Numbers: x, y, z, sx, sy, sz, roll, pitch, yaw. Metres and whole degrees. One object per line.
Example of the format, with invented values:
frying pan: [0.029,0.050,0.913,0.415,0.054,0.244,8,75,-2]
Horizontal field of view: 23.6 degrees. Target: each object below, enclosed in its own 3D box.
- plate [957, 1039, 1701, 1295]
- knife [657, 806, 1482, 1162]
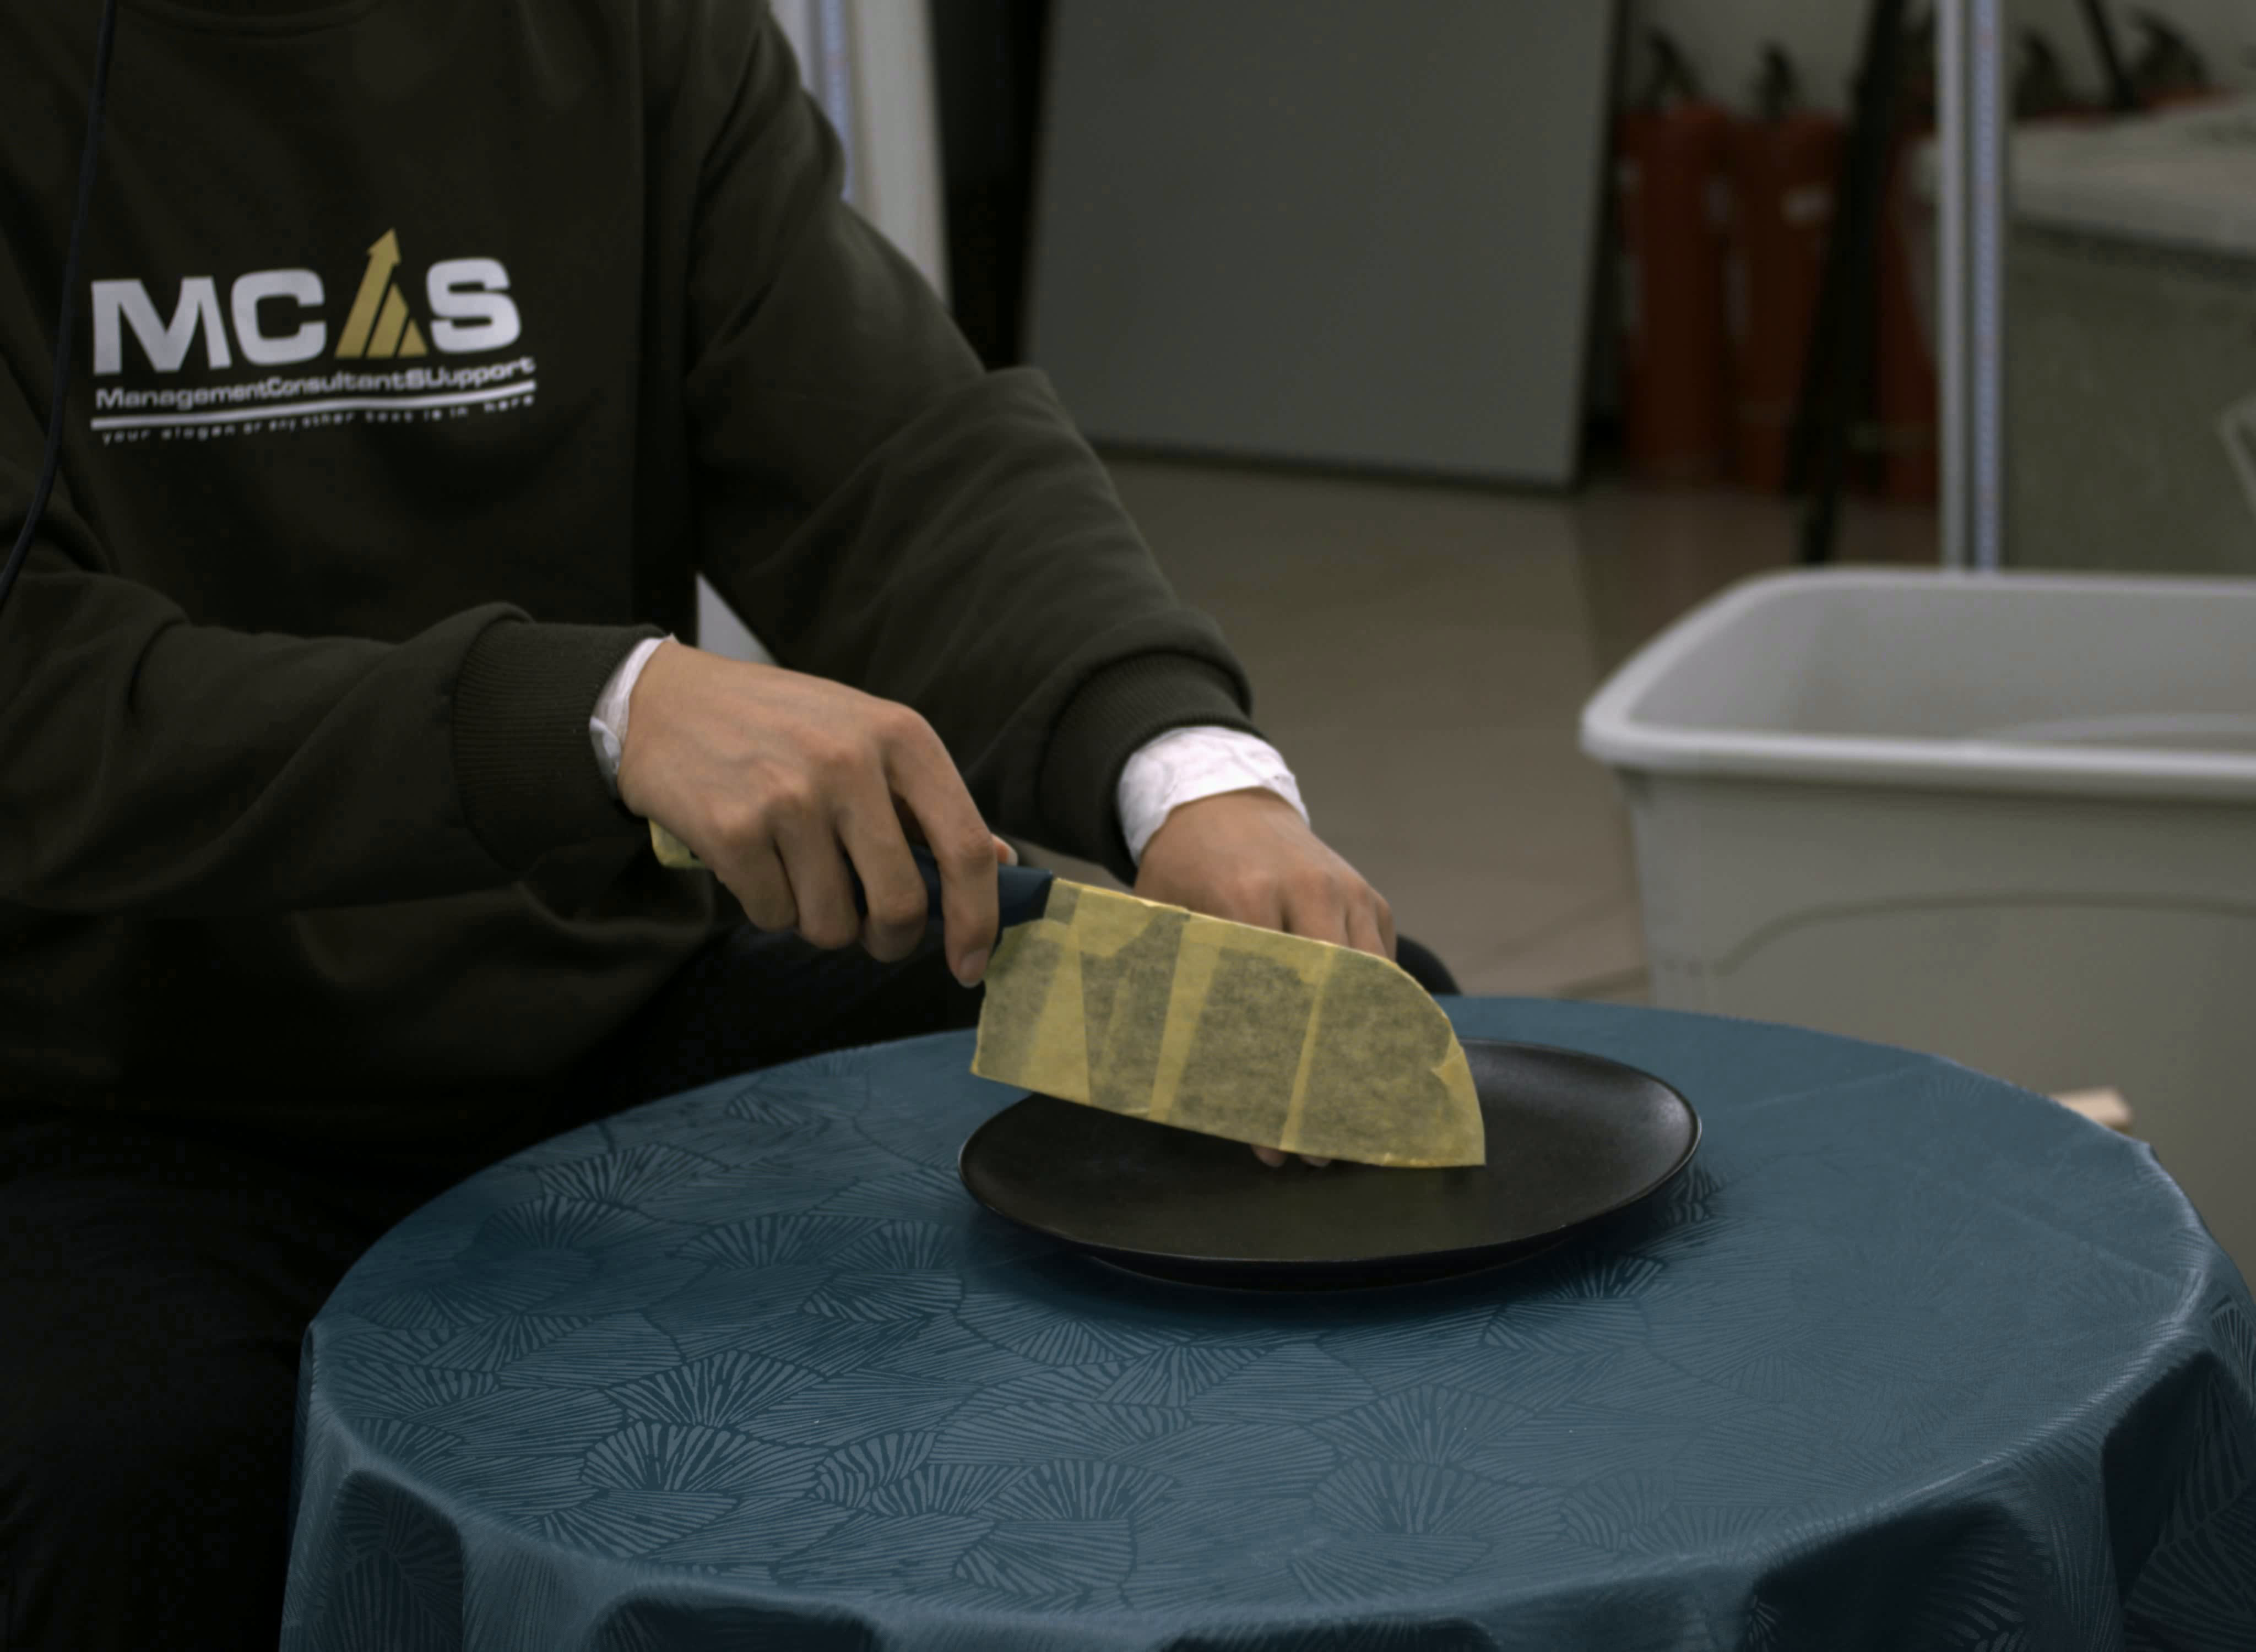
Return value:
plate: [0.065,0.112,1.743,0.241,0.024,0.245,-4,13,0]
knife: [-0.021,0.051,1.760,0.288,0.082,0.027,17,10,9]
